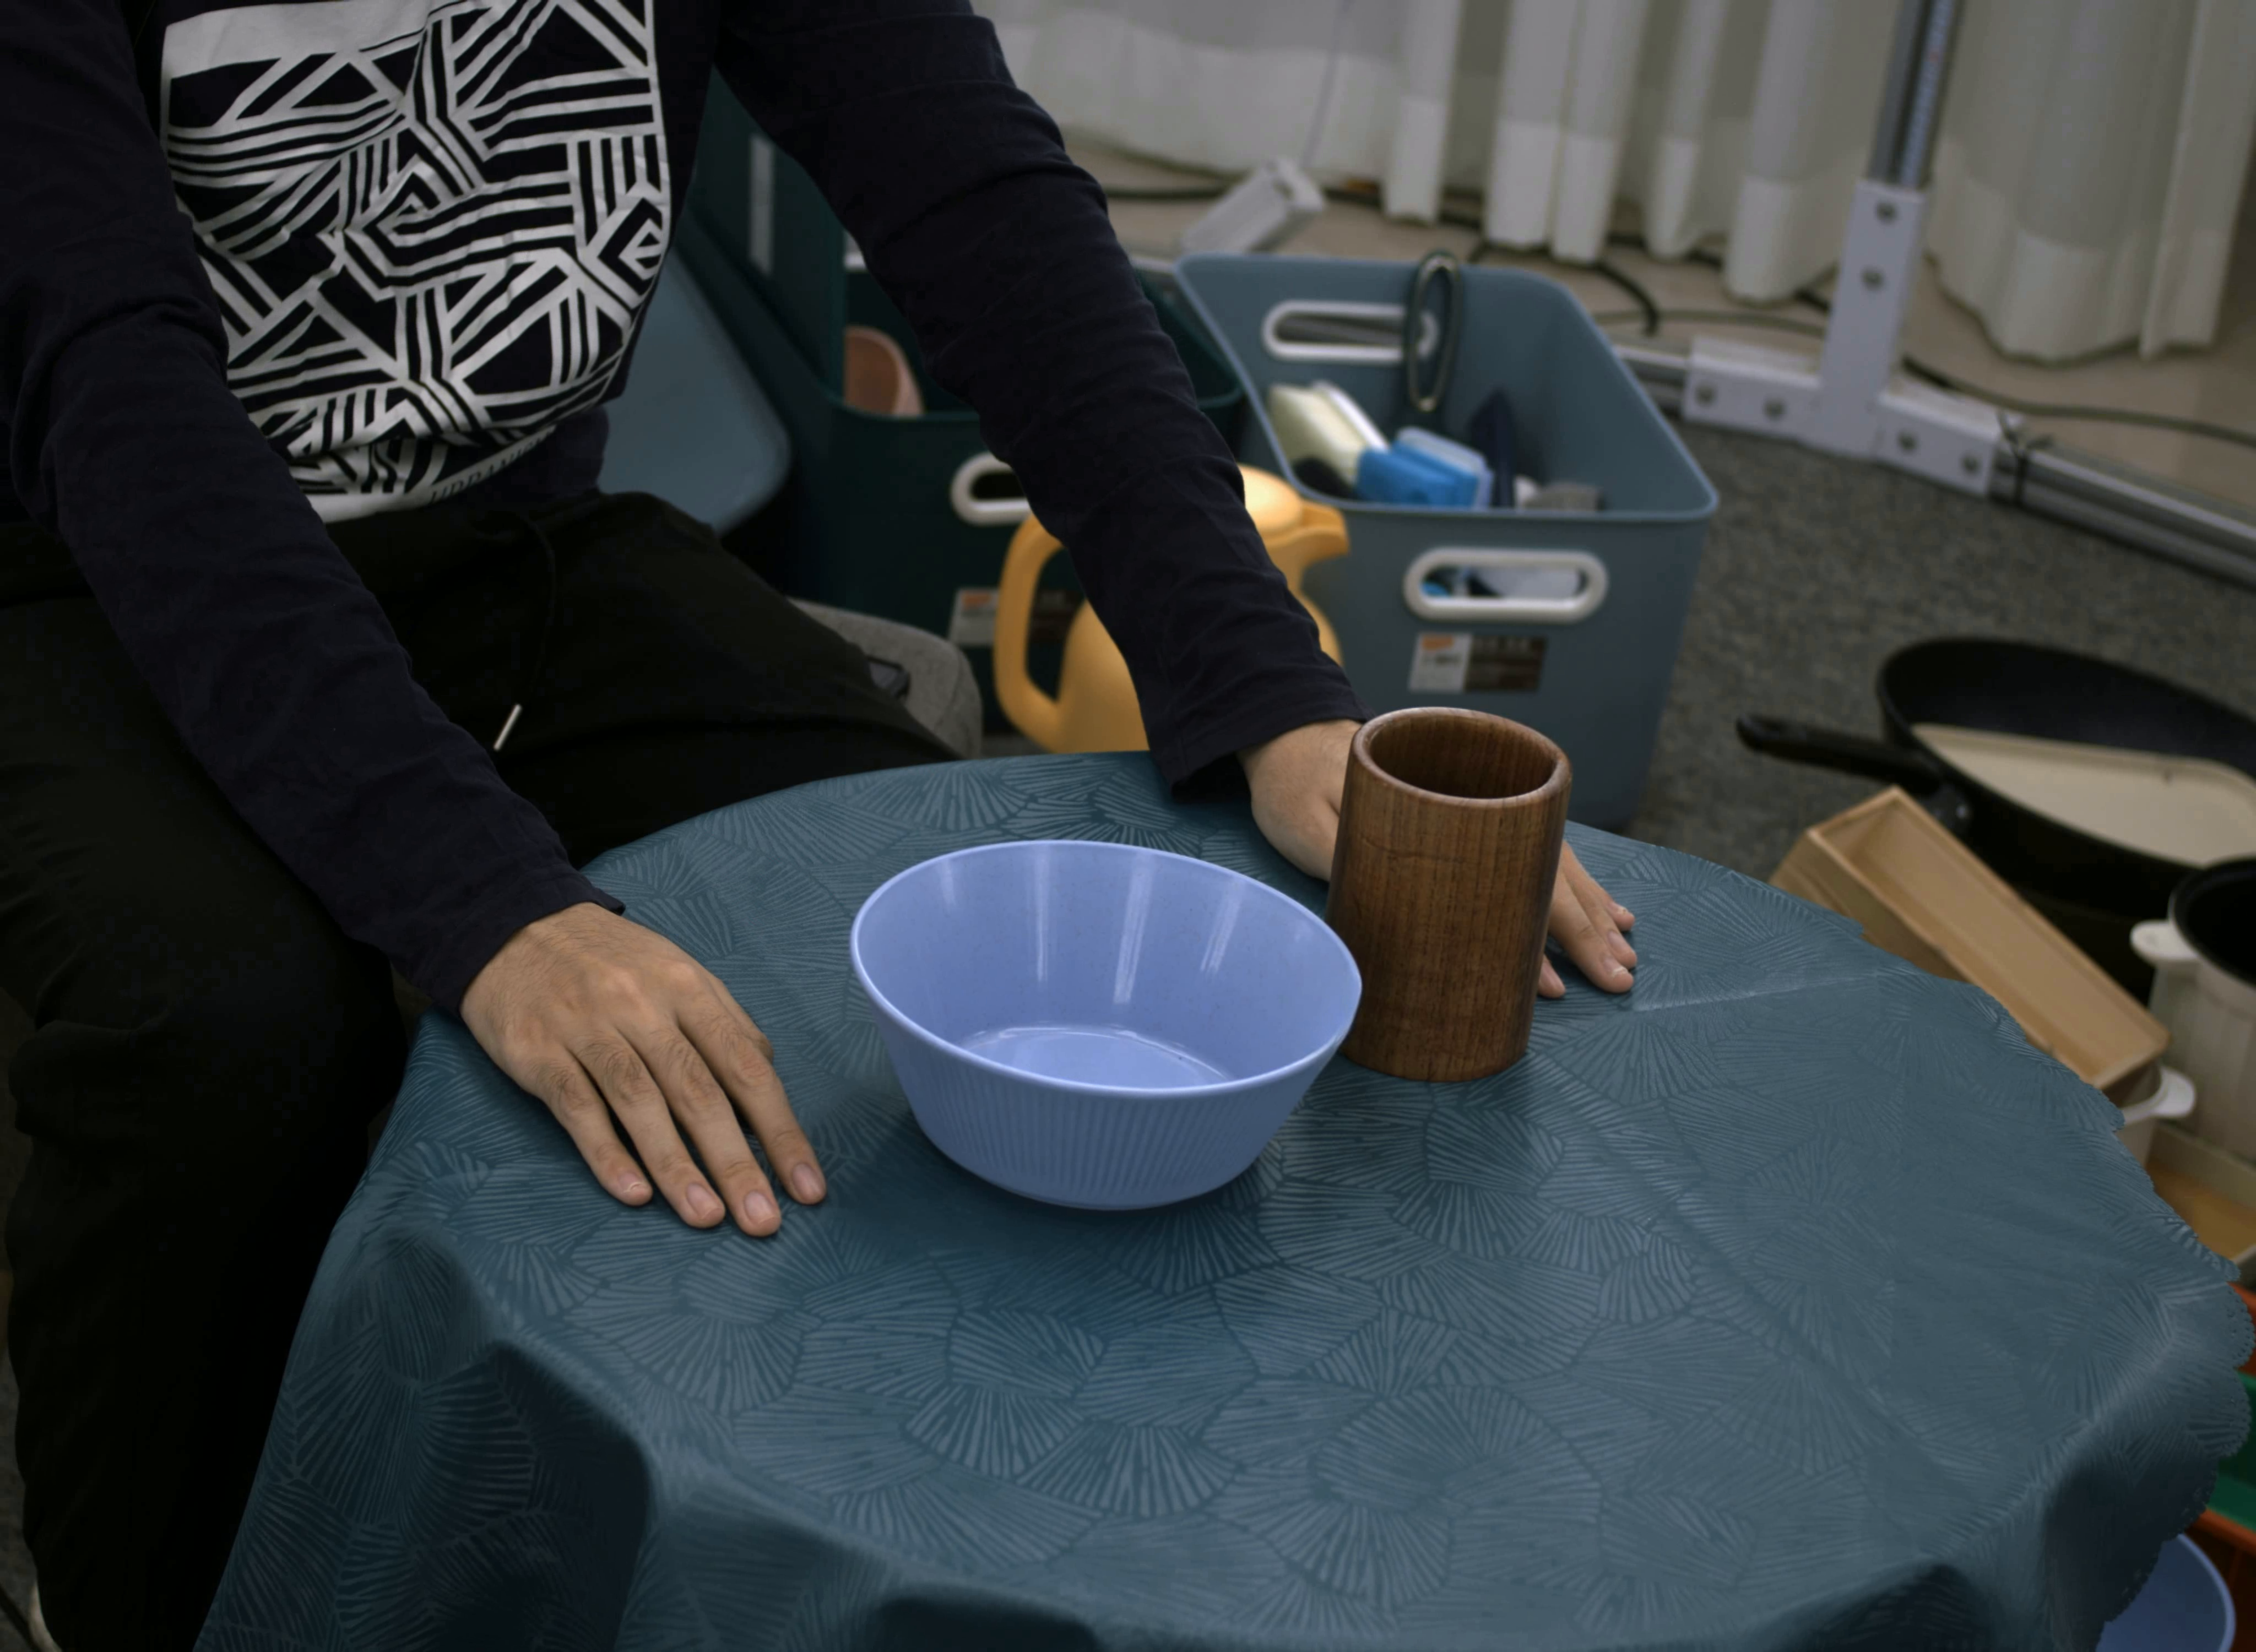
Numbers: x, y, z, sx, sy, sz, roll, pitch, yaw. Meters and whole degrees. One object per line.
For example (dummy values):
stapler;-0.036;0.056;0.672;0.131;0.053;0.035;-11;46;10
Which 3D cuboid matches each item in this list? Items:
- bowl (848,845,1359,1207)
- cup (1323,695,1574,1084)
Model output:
bowl;-0.012;0.074;1.824;0.175;0.070;0.177;5;26;-3
cup;0.112;0.023;1.902;0.087;0.118;0.088;5;24;-3
